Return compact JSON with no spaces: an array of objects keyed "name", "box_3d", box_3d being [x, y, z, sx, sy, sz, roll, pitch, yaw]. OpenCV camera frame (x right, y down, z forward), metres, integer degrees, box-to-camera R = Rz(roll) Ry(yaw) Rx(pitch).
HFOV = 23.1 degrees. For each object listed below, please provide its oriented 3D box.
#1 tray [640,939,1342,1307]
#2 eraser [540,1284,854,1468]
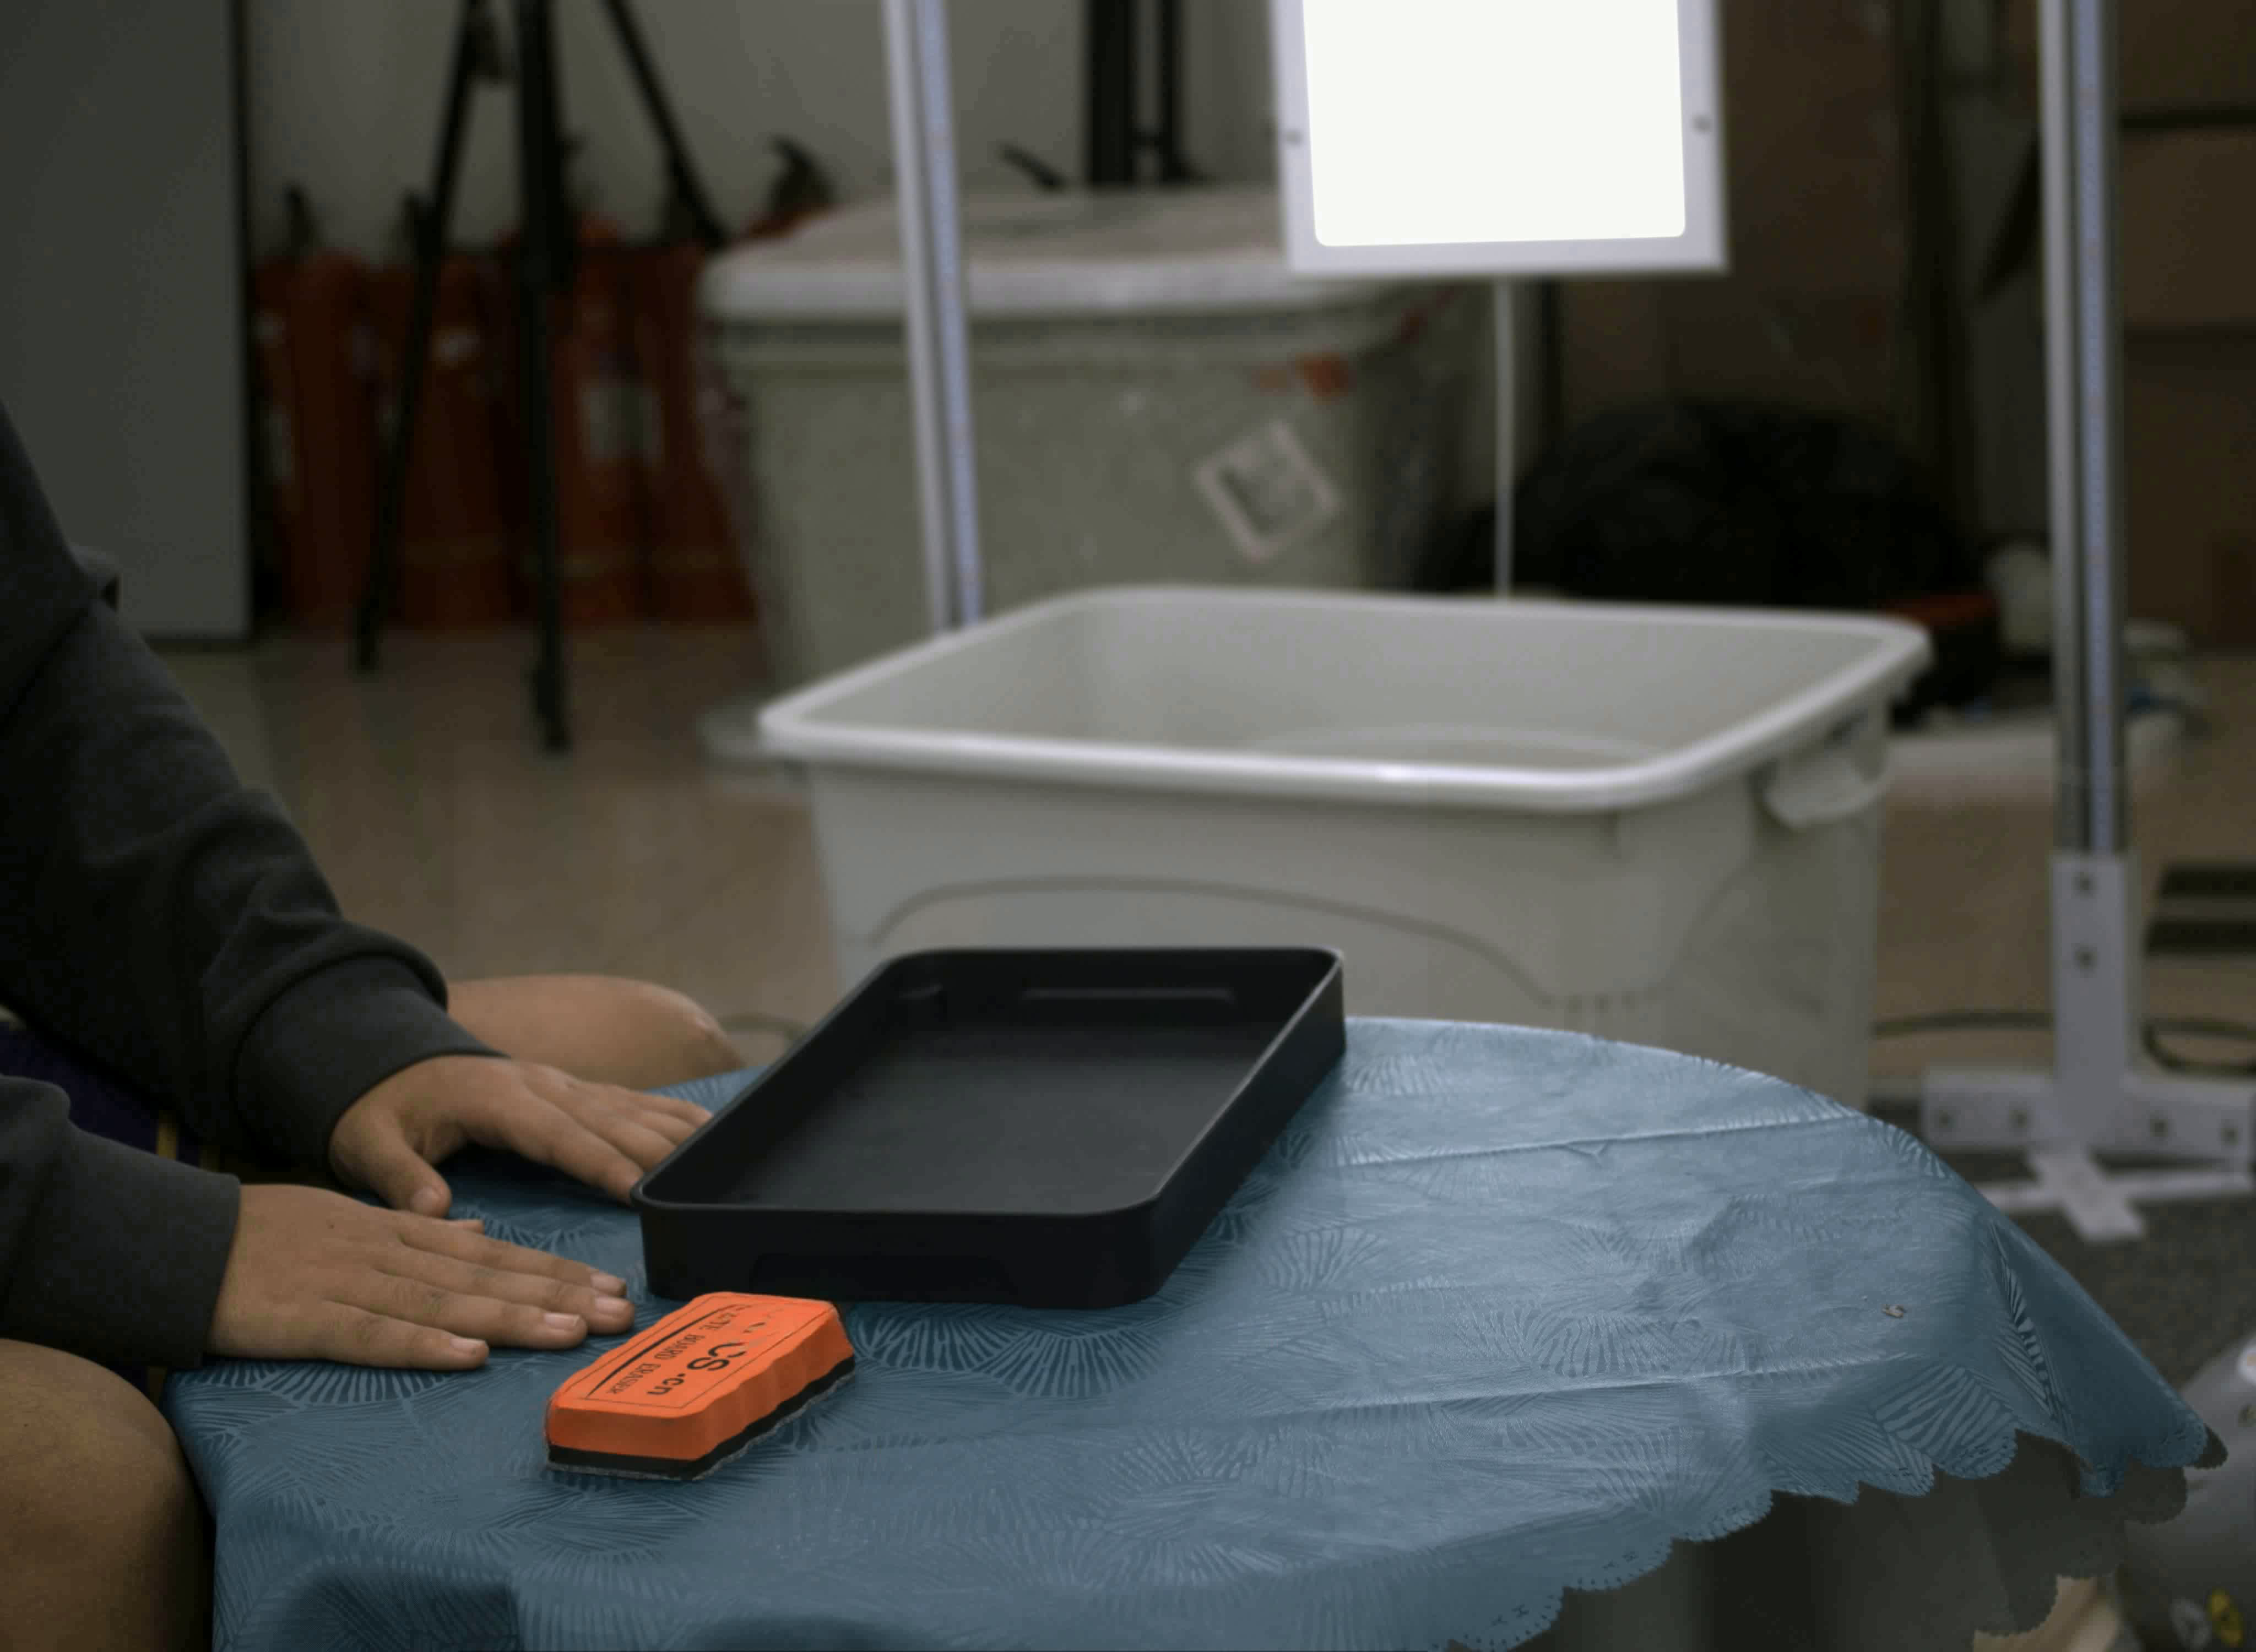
[{"name":"tray","box_3d":[-0.040,0.101,1.945,0.186,0.037,0.313,-2,15,16]},{"name":"eraser","box_3d":[-0.132,0.169,1.707,0.060,0.023,0.106,-4,14,28]}]
